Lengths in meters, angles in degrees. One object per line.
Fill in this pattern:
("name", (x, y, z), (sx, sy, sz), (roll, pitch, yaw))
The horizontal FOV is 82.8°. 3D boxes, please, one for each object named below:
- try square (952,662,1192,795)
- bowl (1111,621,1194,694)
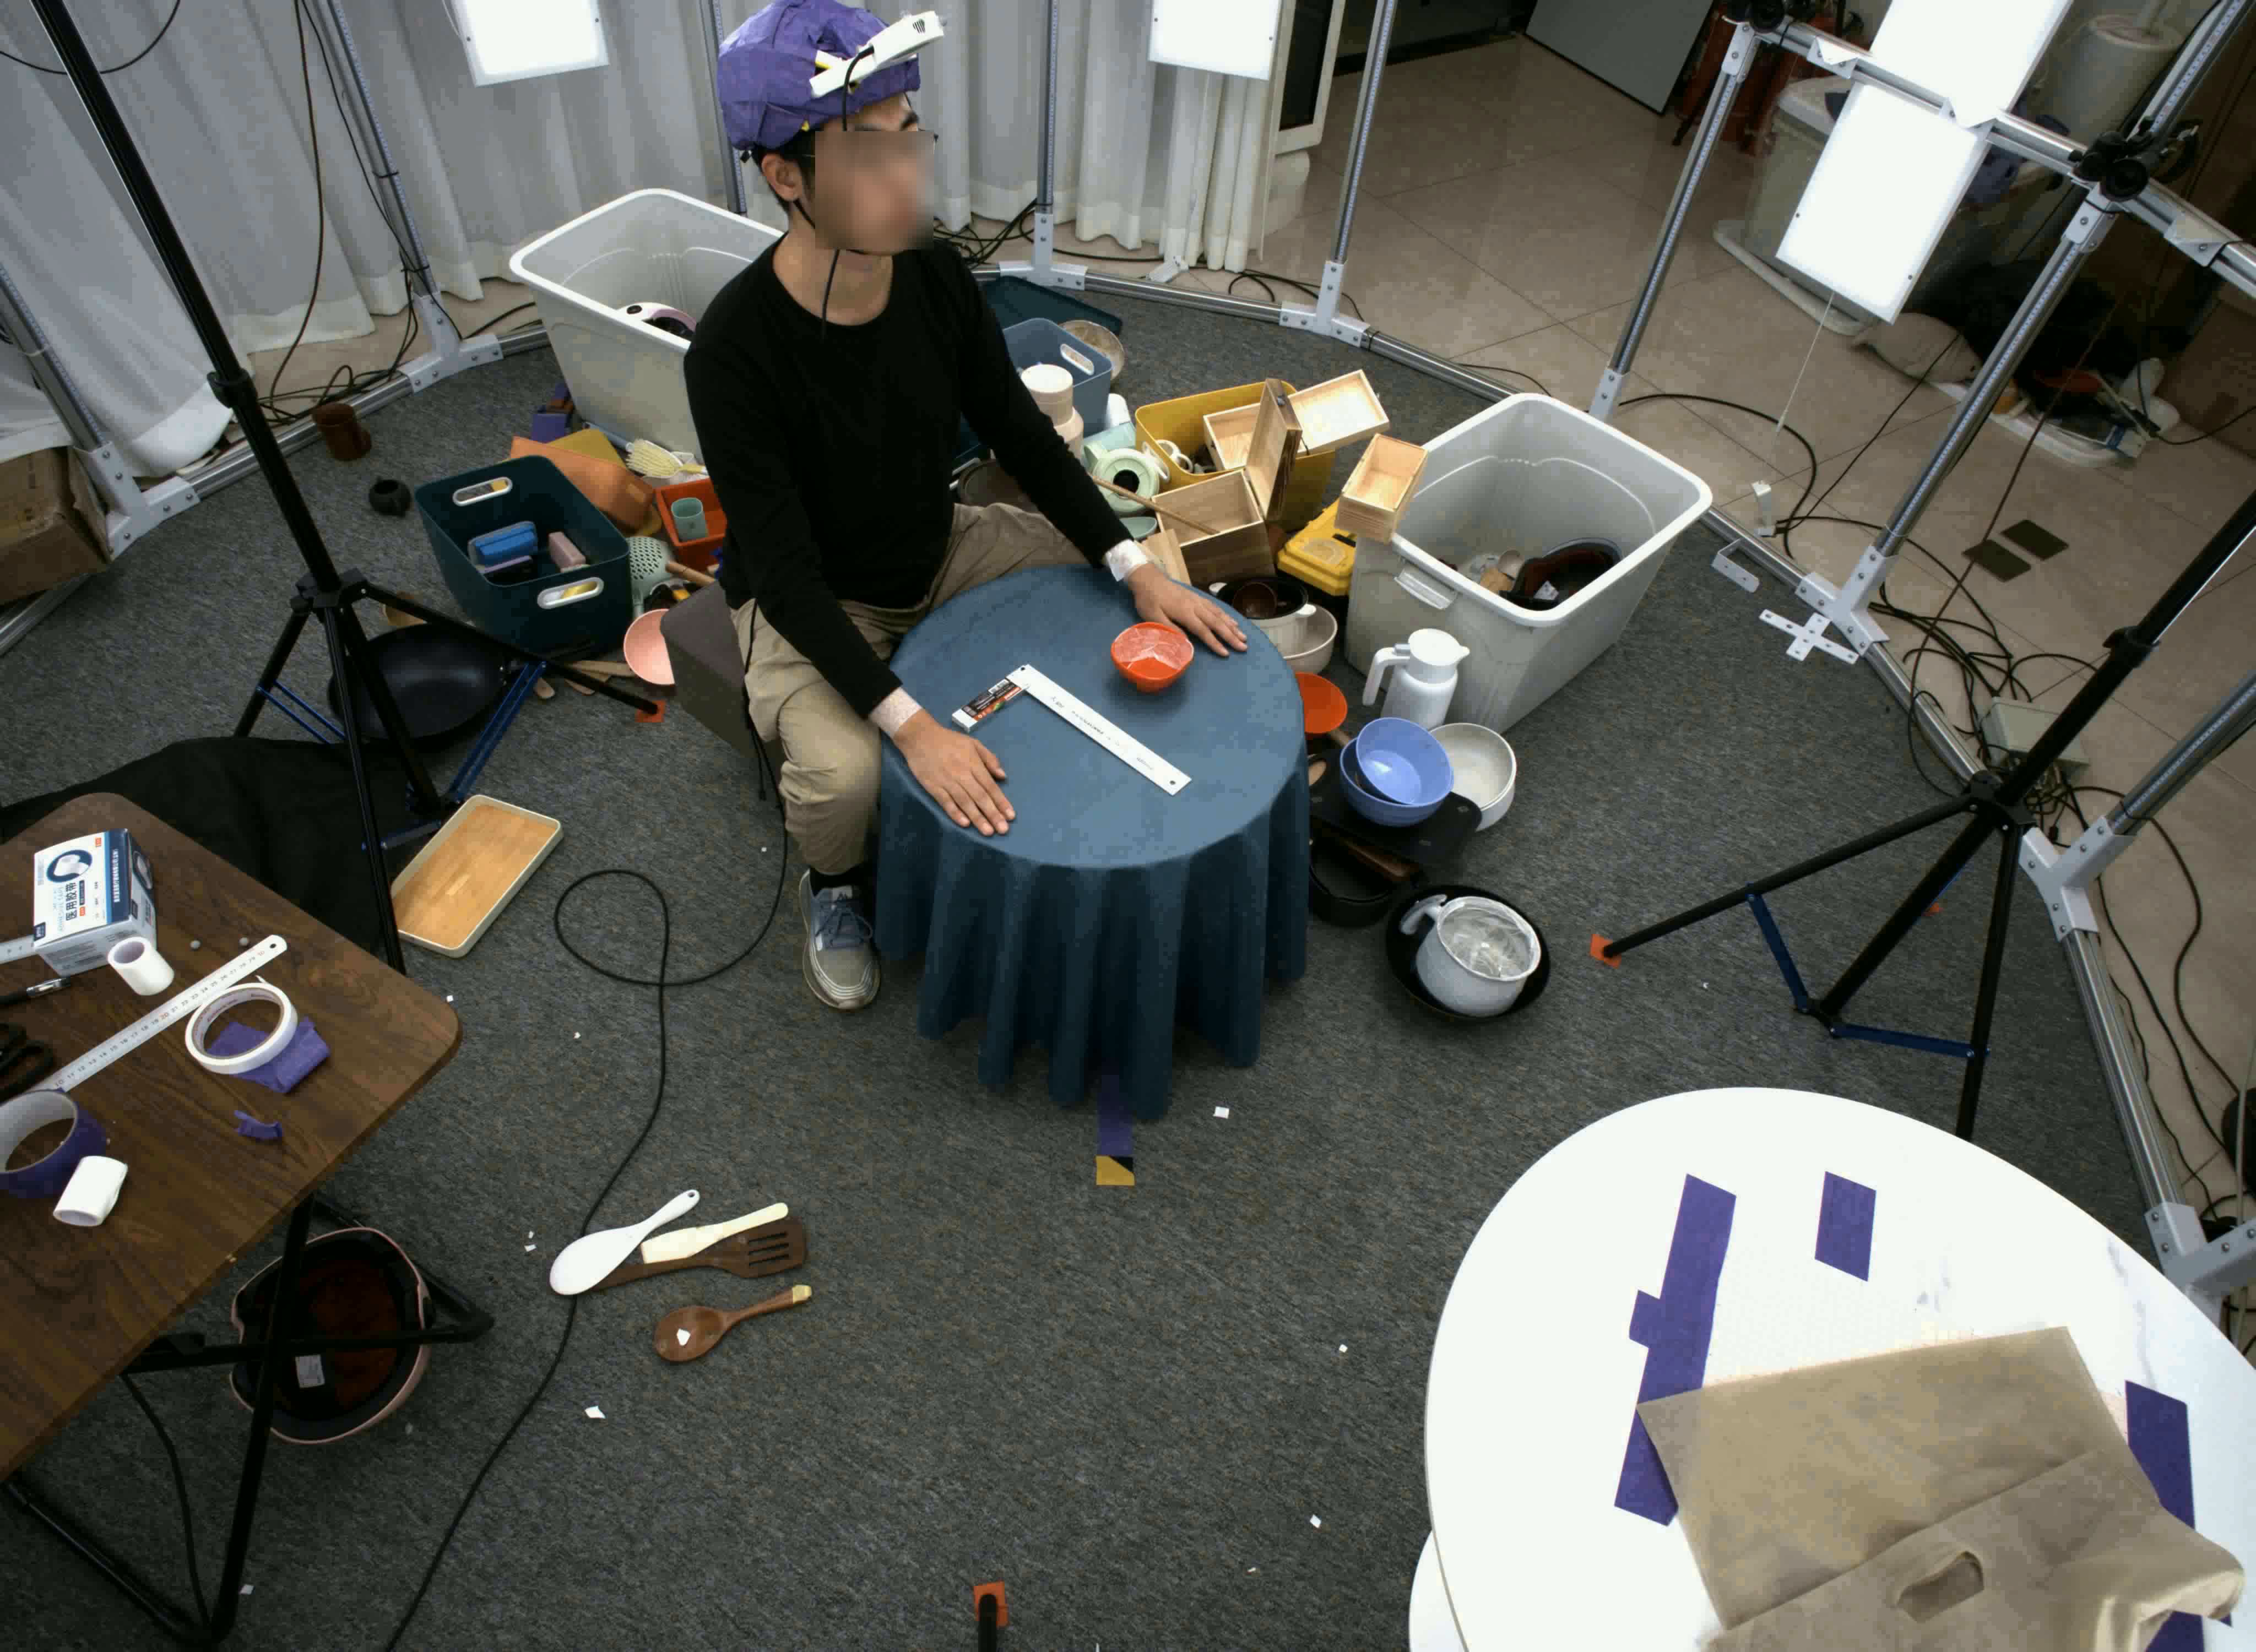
("try square", (-0.080, -0.107, 1.756), (0.317, 0.015, 0.154), (37, 60, 24))
("bowl", (0.034, -0.236, 1.843), (0.119, 0.050, 0.122), (2, 51, -2))
